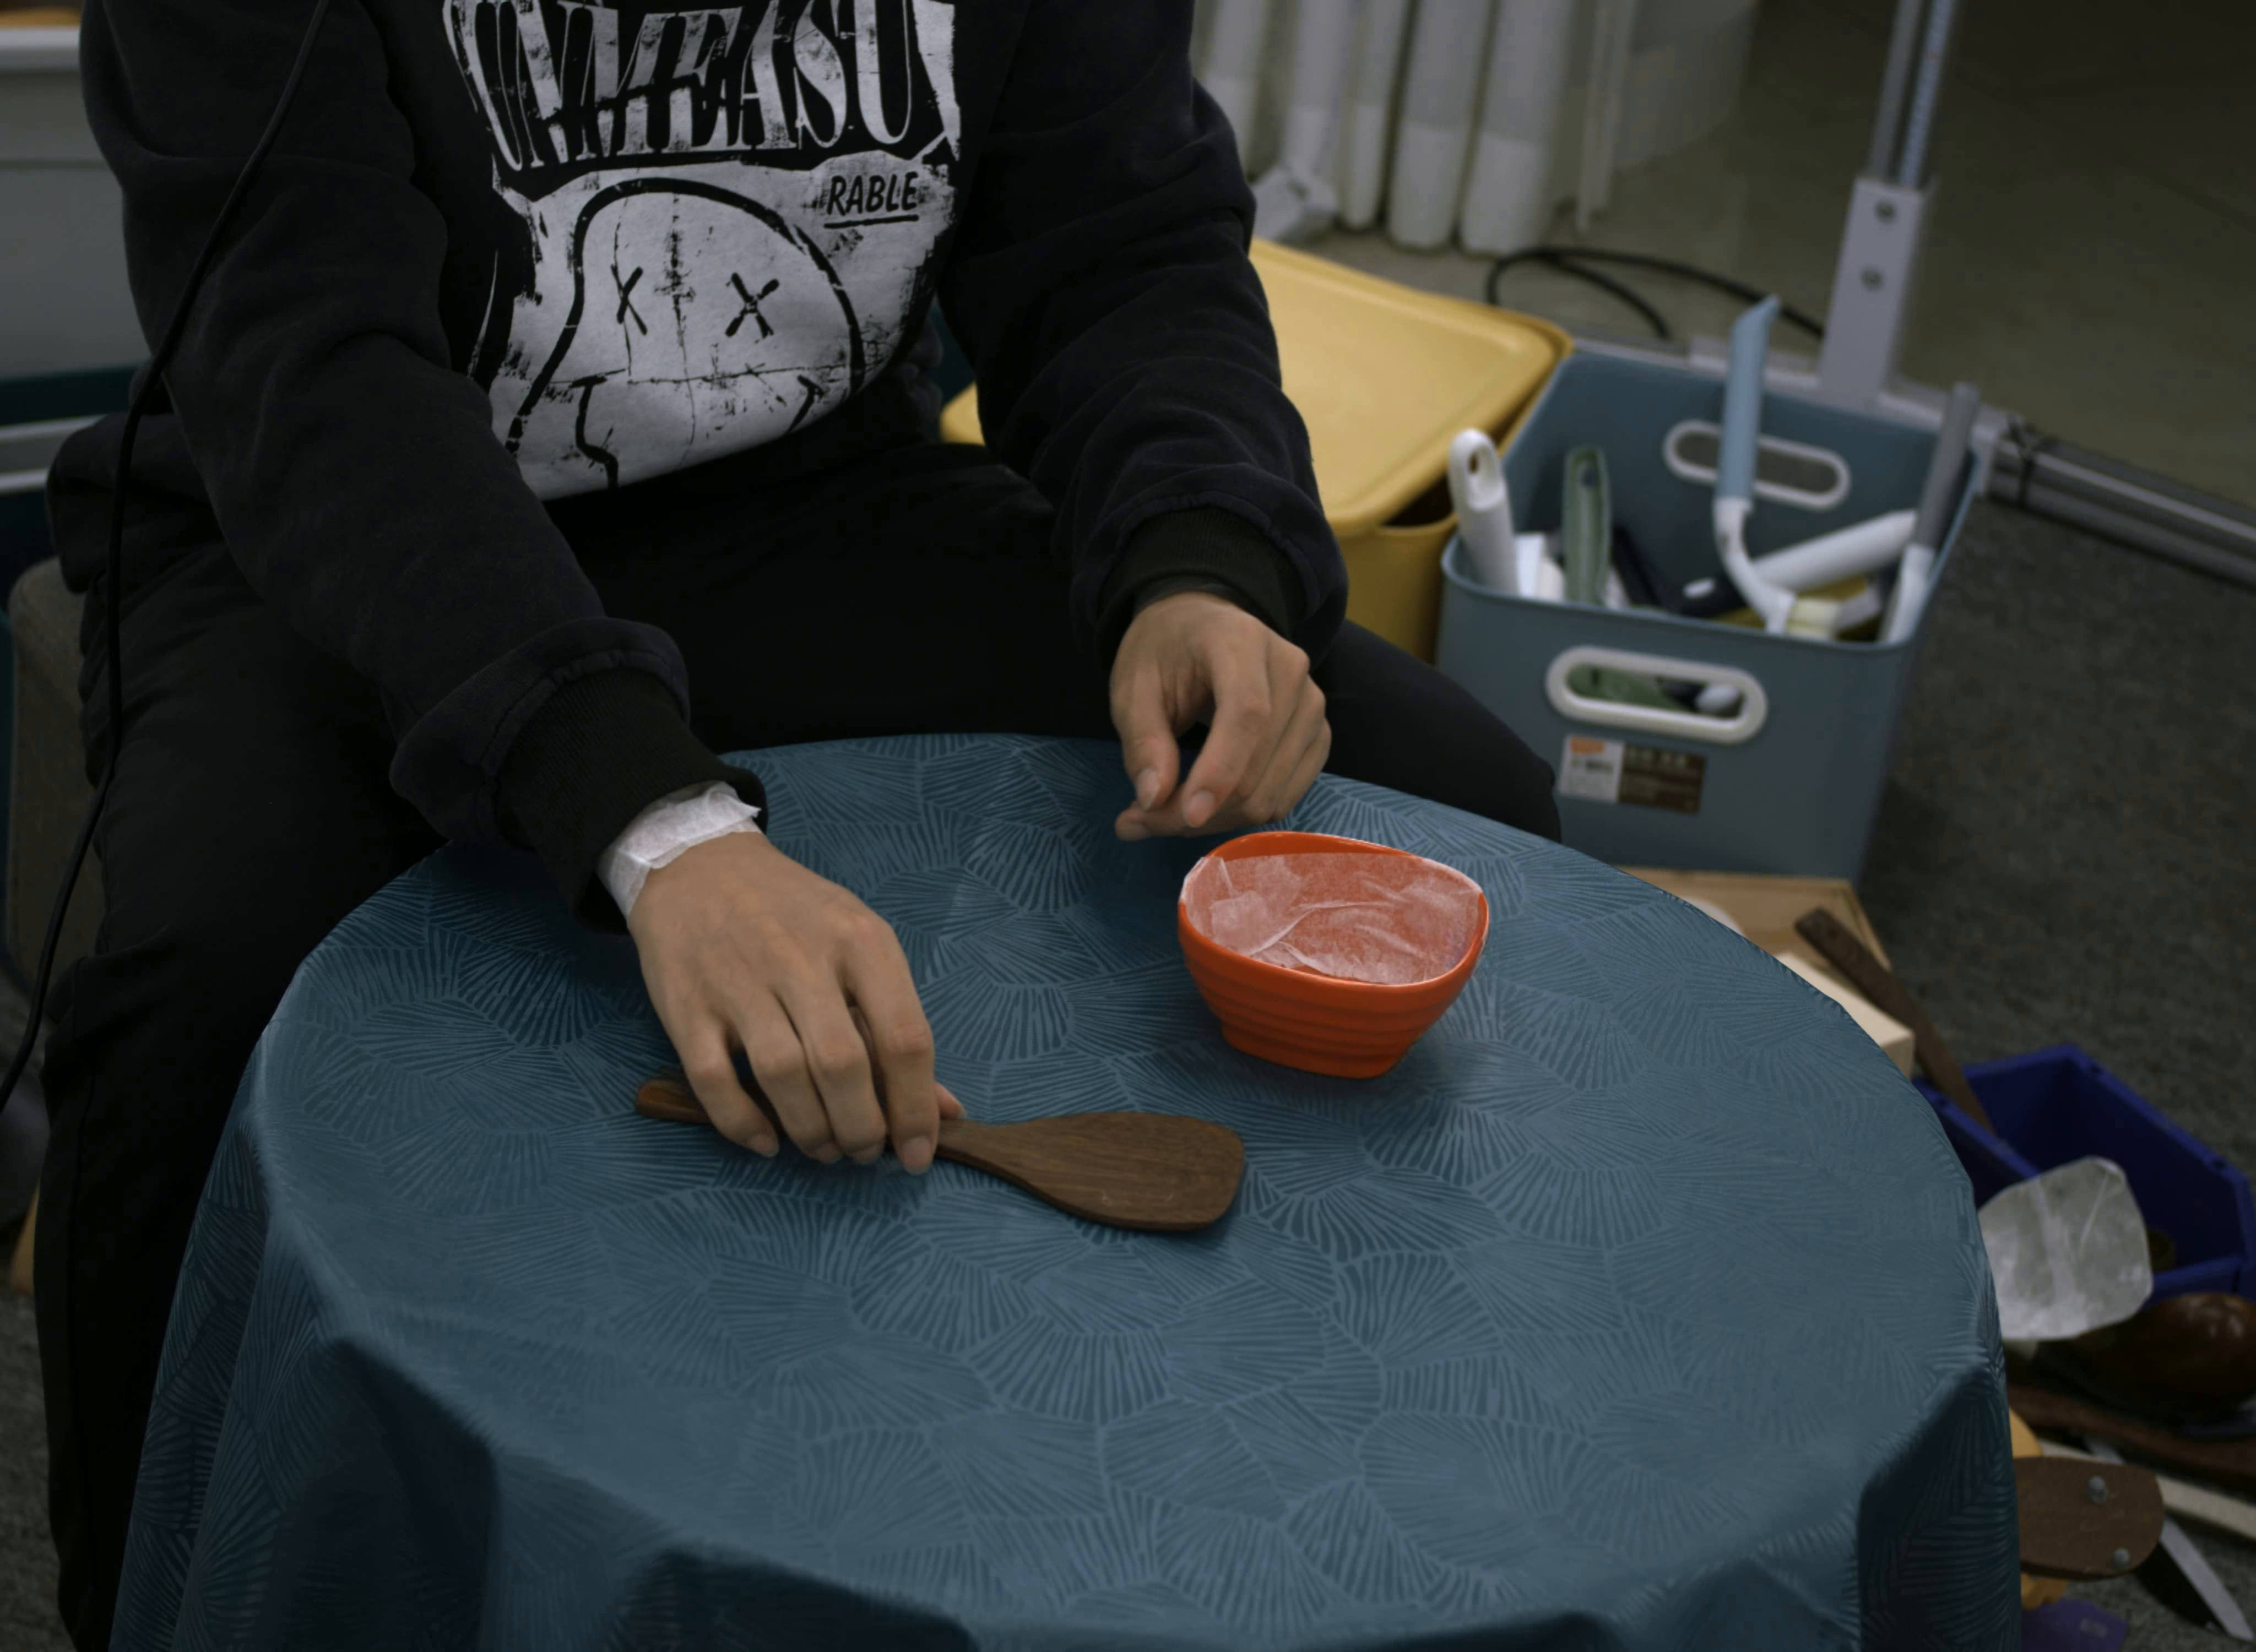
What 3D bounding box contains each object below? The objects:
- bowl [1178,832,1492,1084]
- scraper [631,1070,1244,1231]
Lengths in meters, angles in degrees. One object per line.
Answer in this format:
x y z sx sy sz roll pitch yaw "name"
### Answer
0.071 0.052 1.905 0.118 0.051 0.119 5 28 -3 "bowl"
-0.065 0.106 1.813 0.211 0.011 0.076 9 26 6 "scraper"
